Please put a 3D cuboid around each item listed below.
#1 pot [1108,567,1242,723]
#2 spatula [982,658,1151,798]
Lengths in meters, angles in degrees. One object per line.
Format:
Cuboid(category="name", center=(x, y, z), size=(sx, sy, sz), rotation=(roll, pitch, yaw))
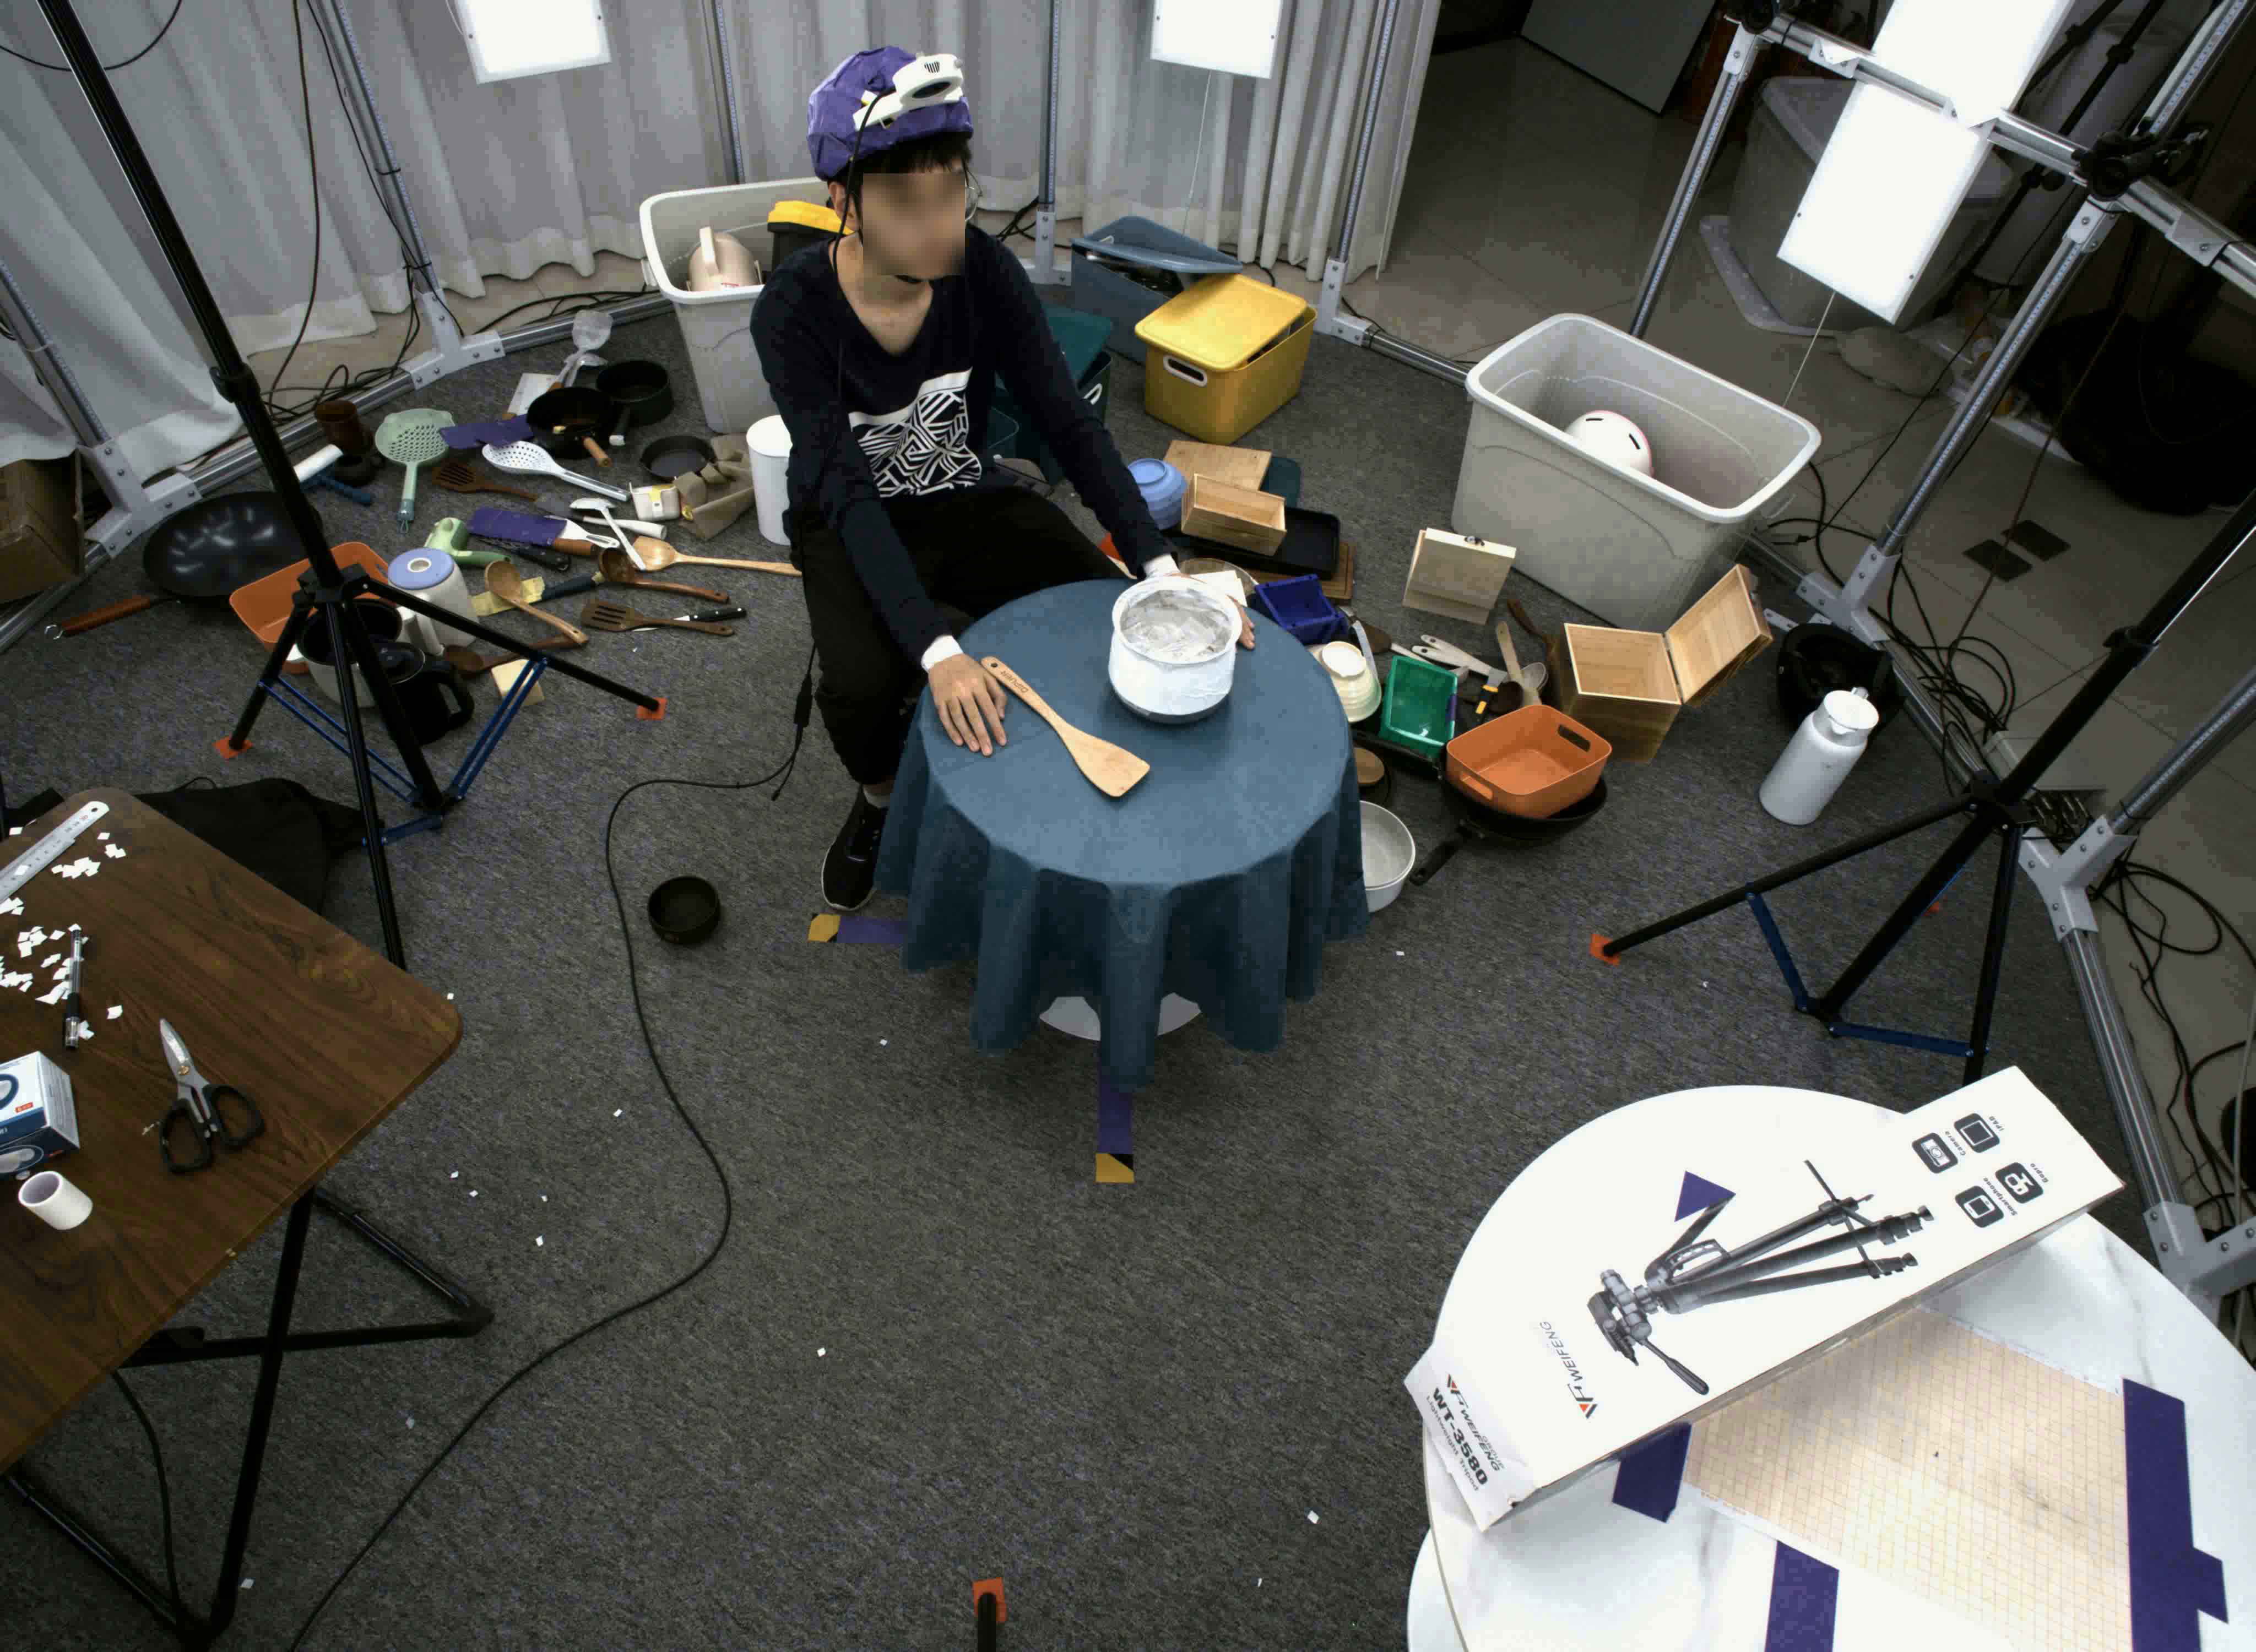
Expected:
Cuboid(category="pot", center=(0.056, -0.264, 1.809), size=(0.178, 0.133, 0.239), rotation=(-8, 51, -12))
Cuboid(category="spatula", center=(-0.096, -0.146, 1.777), size=(0.080, 0.016, 0.333), rotation=(-31, 57, -28))
